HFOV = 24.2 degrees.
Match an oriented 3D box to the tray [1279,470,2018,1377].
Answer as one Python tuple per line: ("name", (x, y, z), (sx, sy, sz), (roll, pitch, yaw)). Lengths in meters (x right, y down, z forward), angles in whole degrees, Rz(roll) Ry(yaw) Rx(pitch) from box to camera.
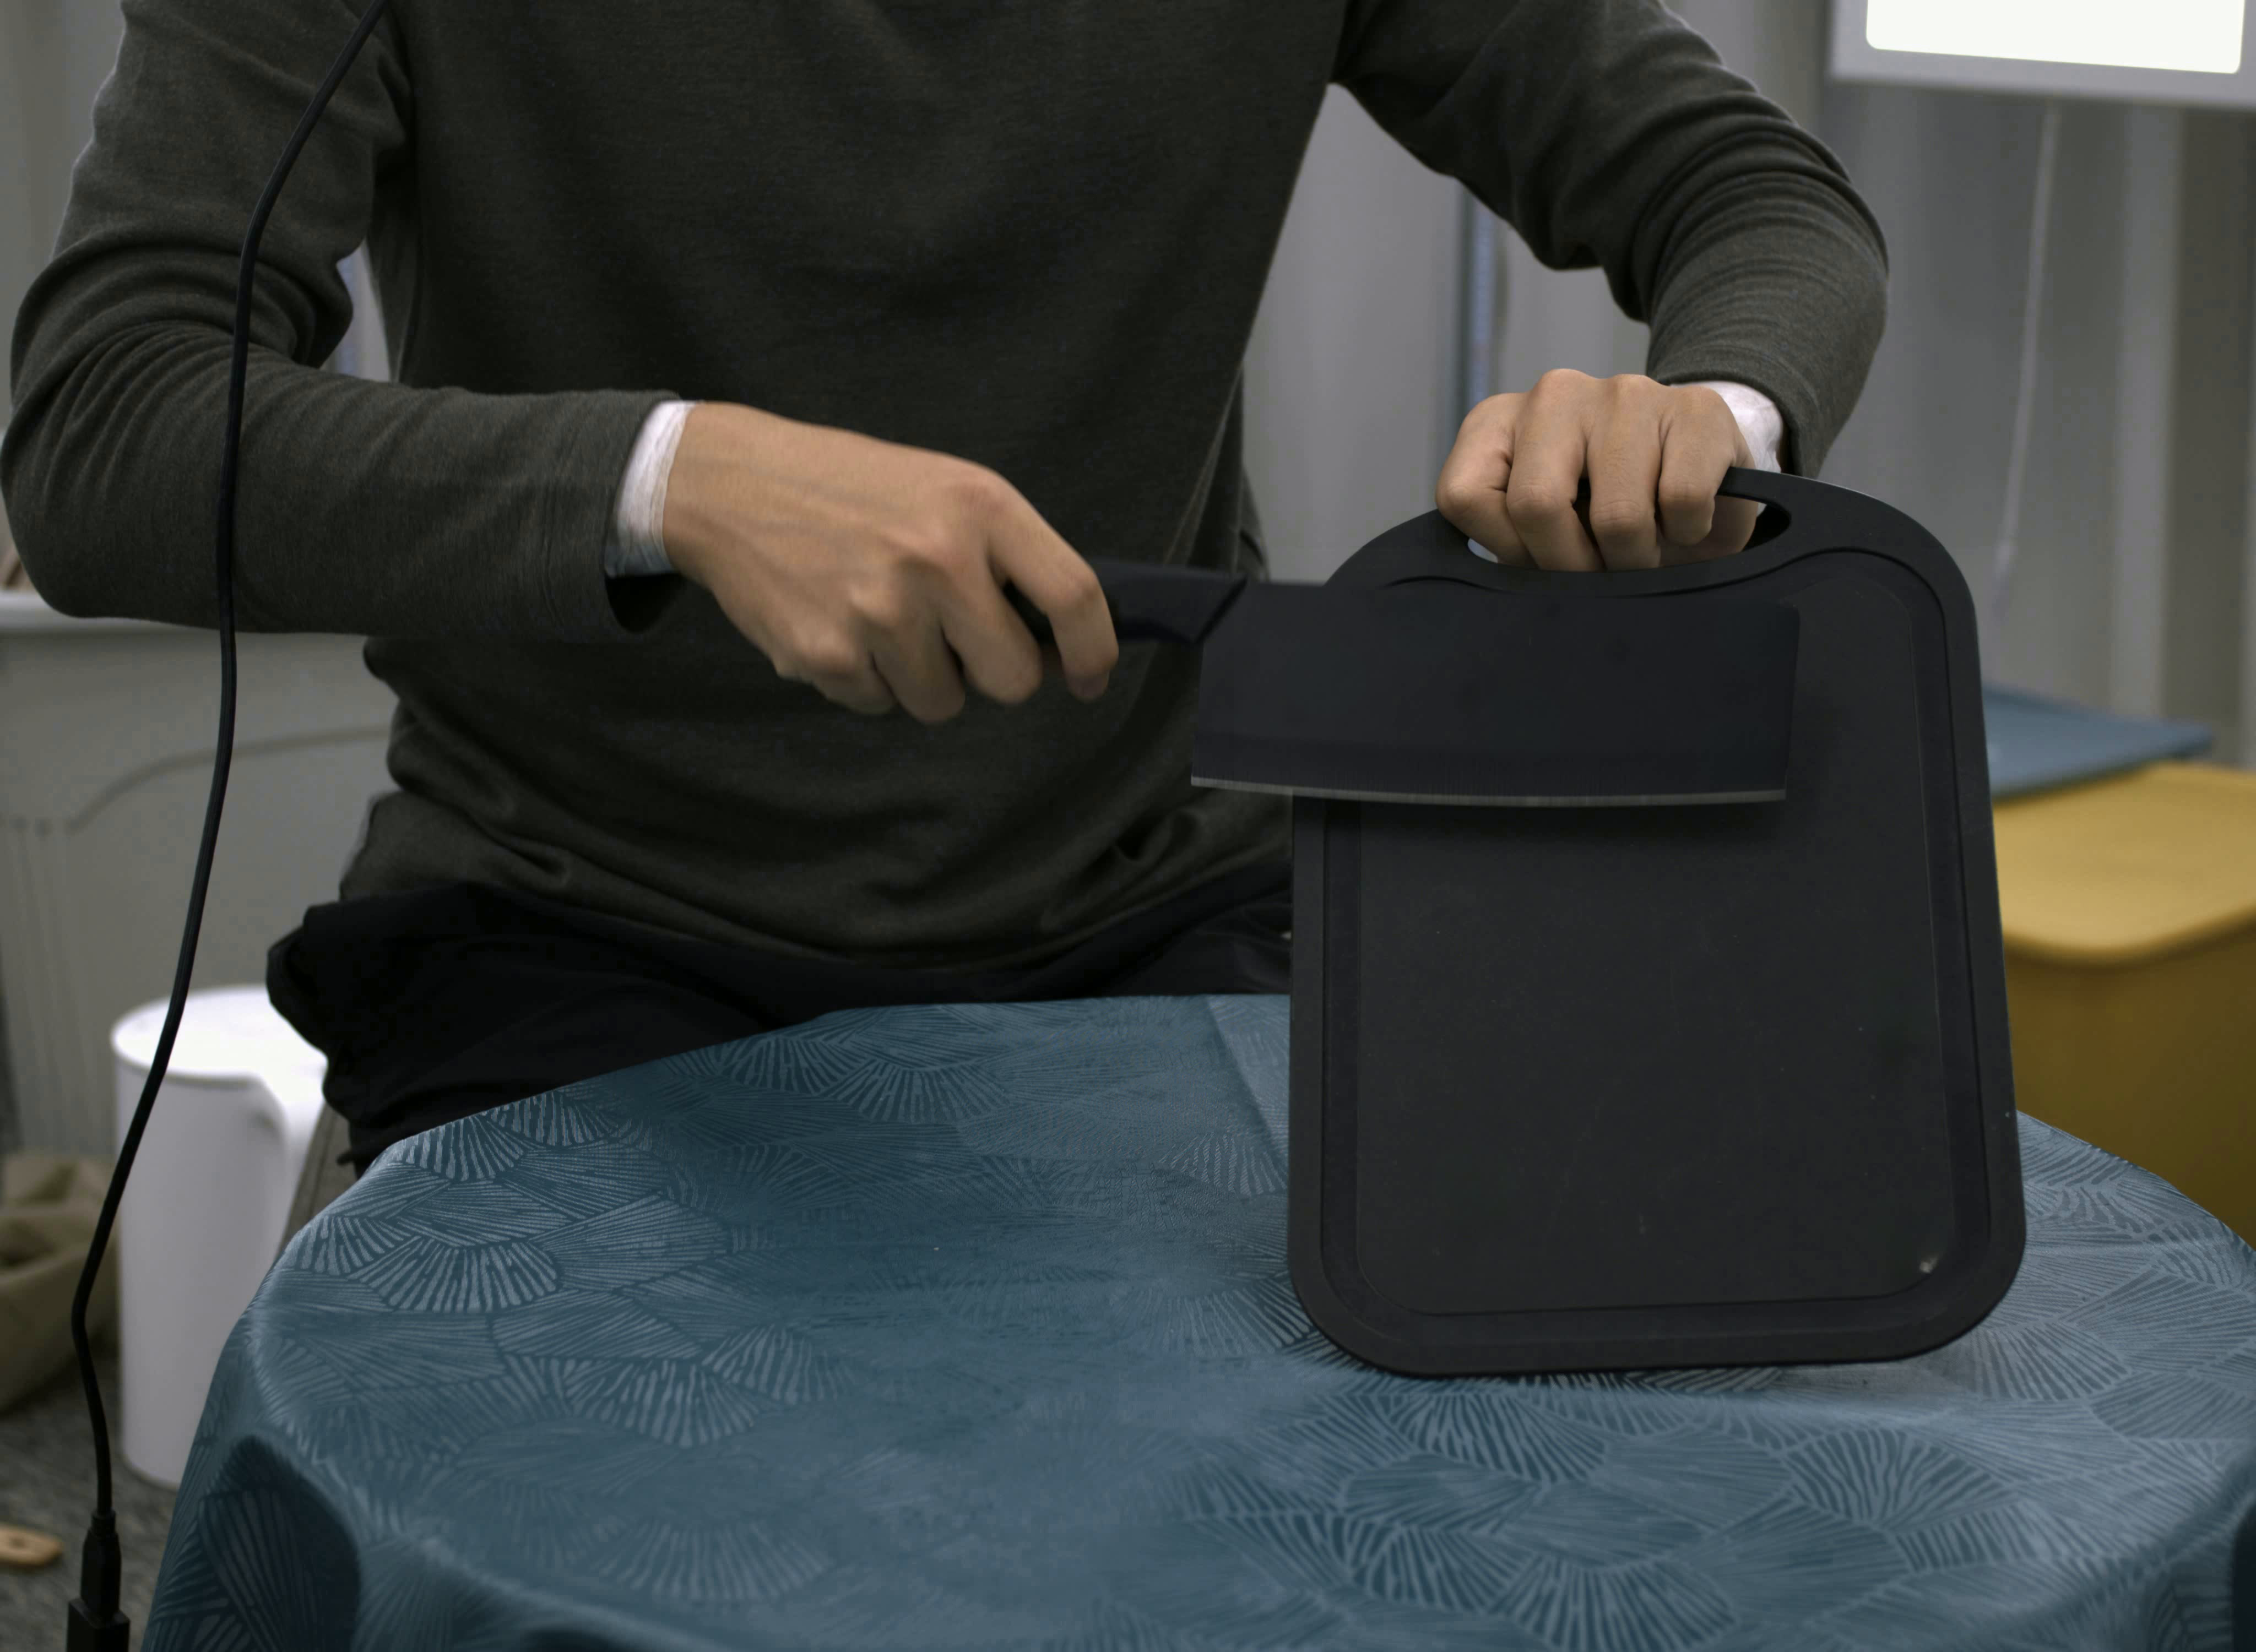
("tray", (0.151, 0.020, 1.560), (0.210, 0.010, 0.323), (-2, 55, 6))

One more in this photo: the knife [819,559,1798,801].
("knife", (0.052, -0.045, 1.592), (0.300, 0.081, 0.021), (7, -16, 12))
